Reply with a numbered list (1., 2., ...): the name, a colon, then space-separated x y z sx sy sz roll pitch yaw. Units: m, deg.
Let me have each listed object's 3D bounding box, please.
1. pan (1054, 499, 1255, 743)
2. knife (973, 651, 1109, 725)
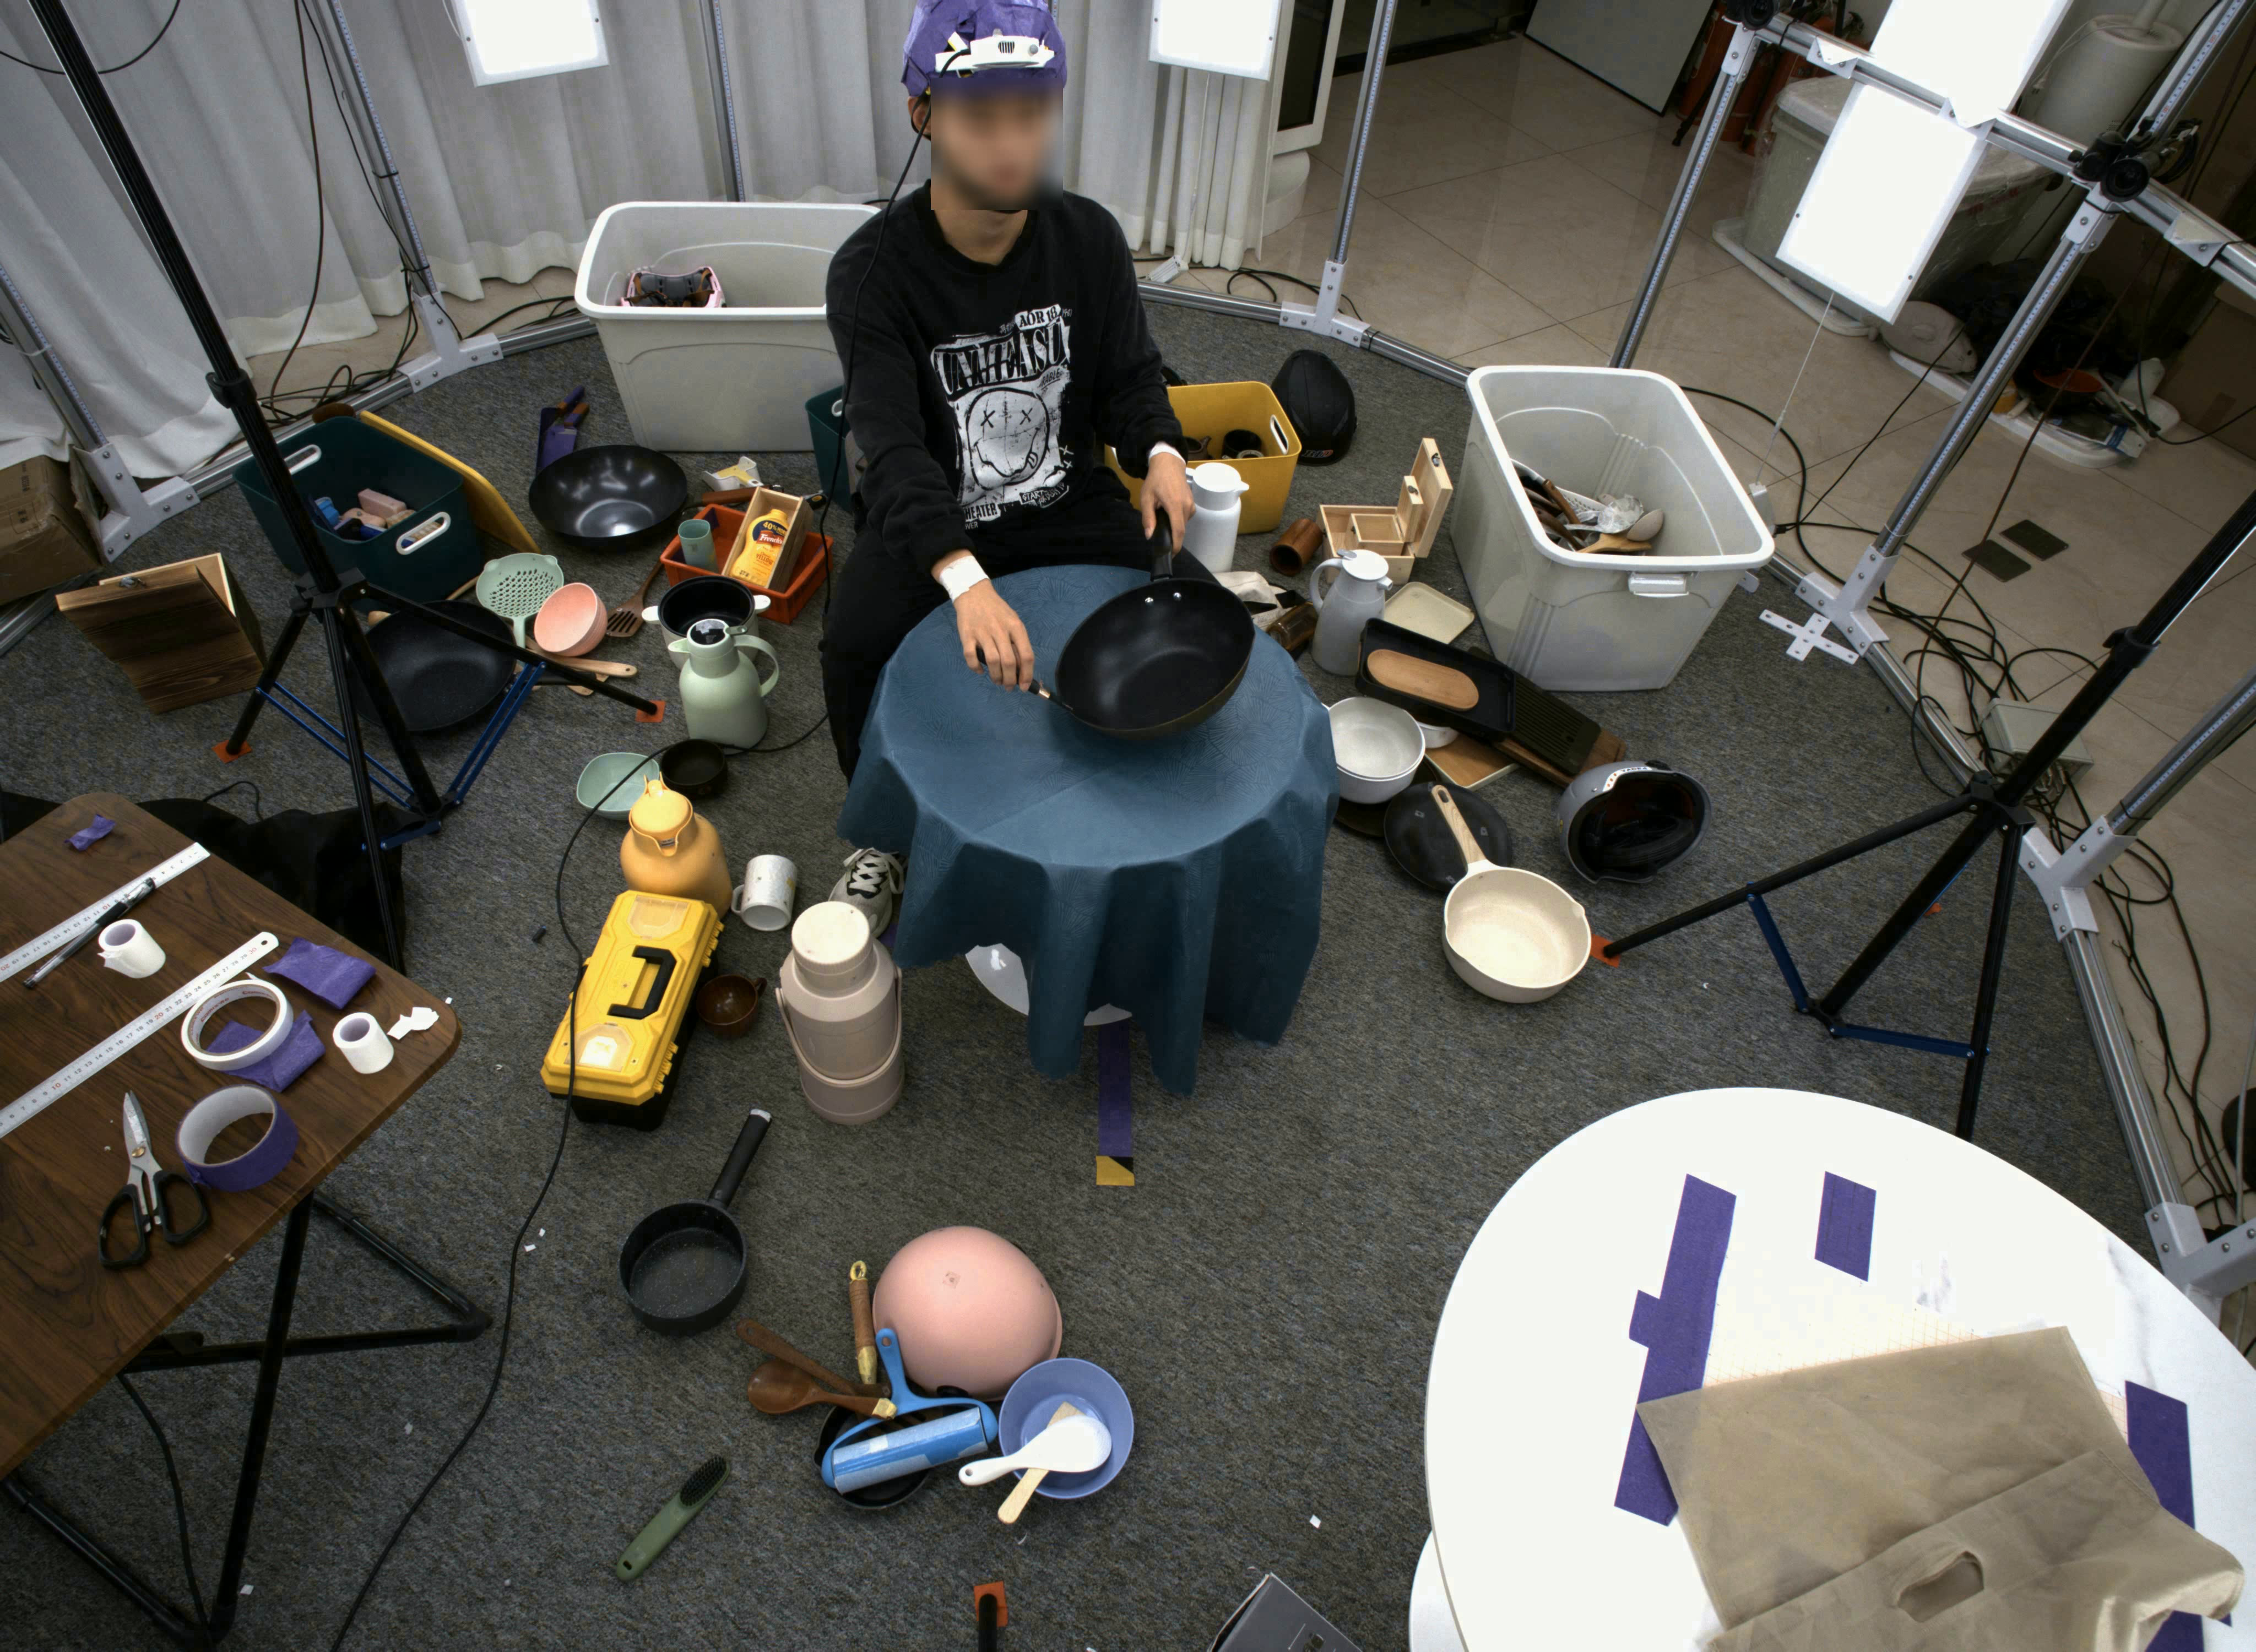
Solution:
1. pan: 0.052 -0.286 1.829 0.288 0.085 0.474 -9 50 18
2. knife: -0.105 -0.173 1.694 0.223 0.017 0.027 27 25 -22
